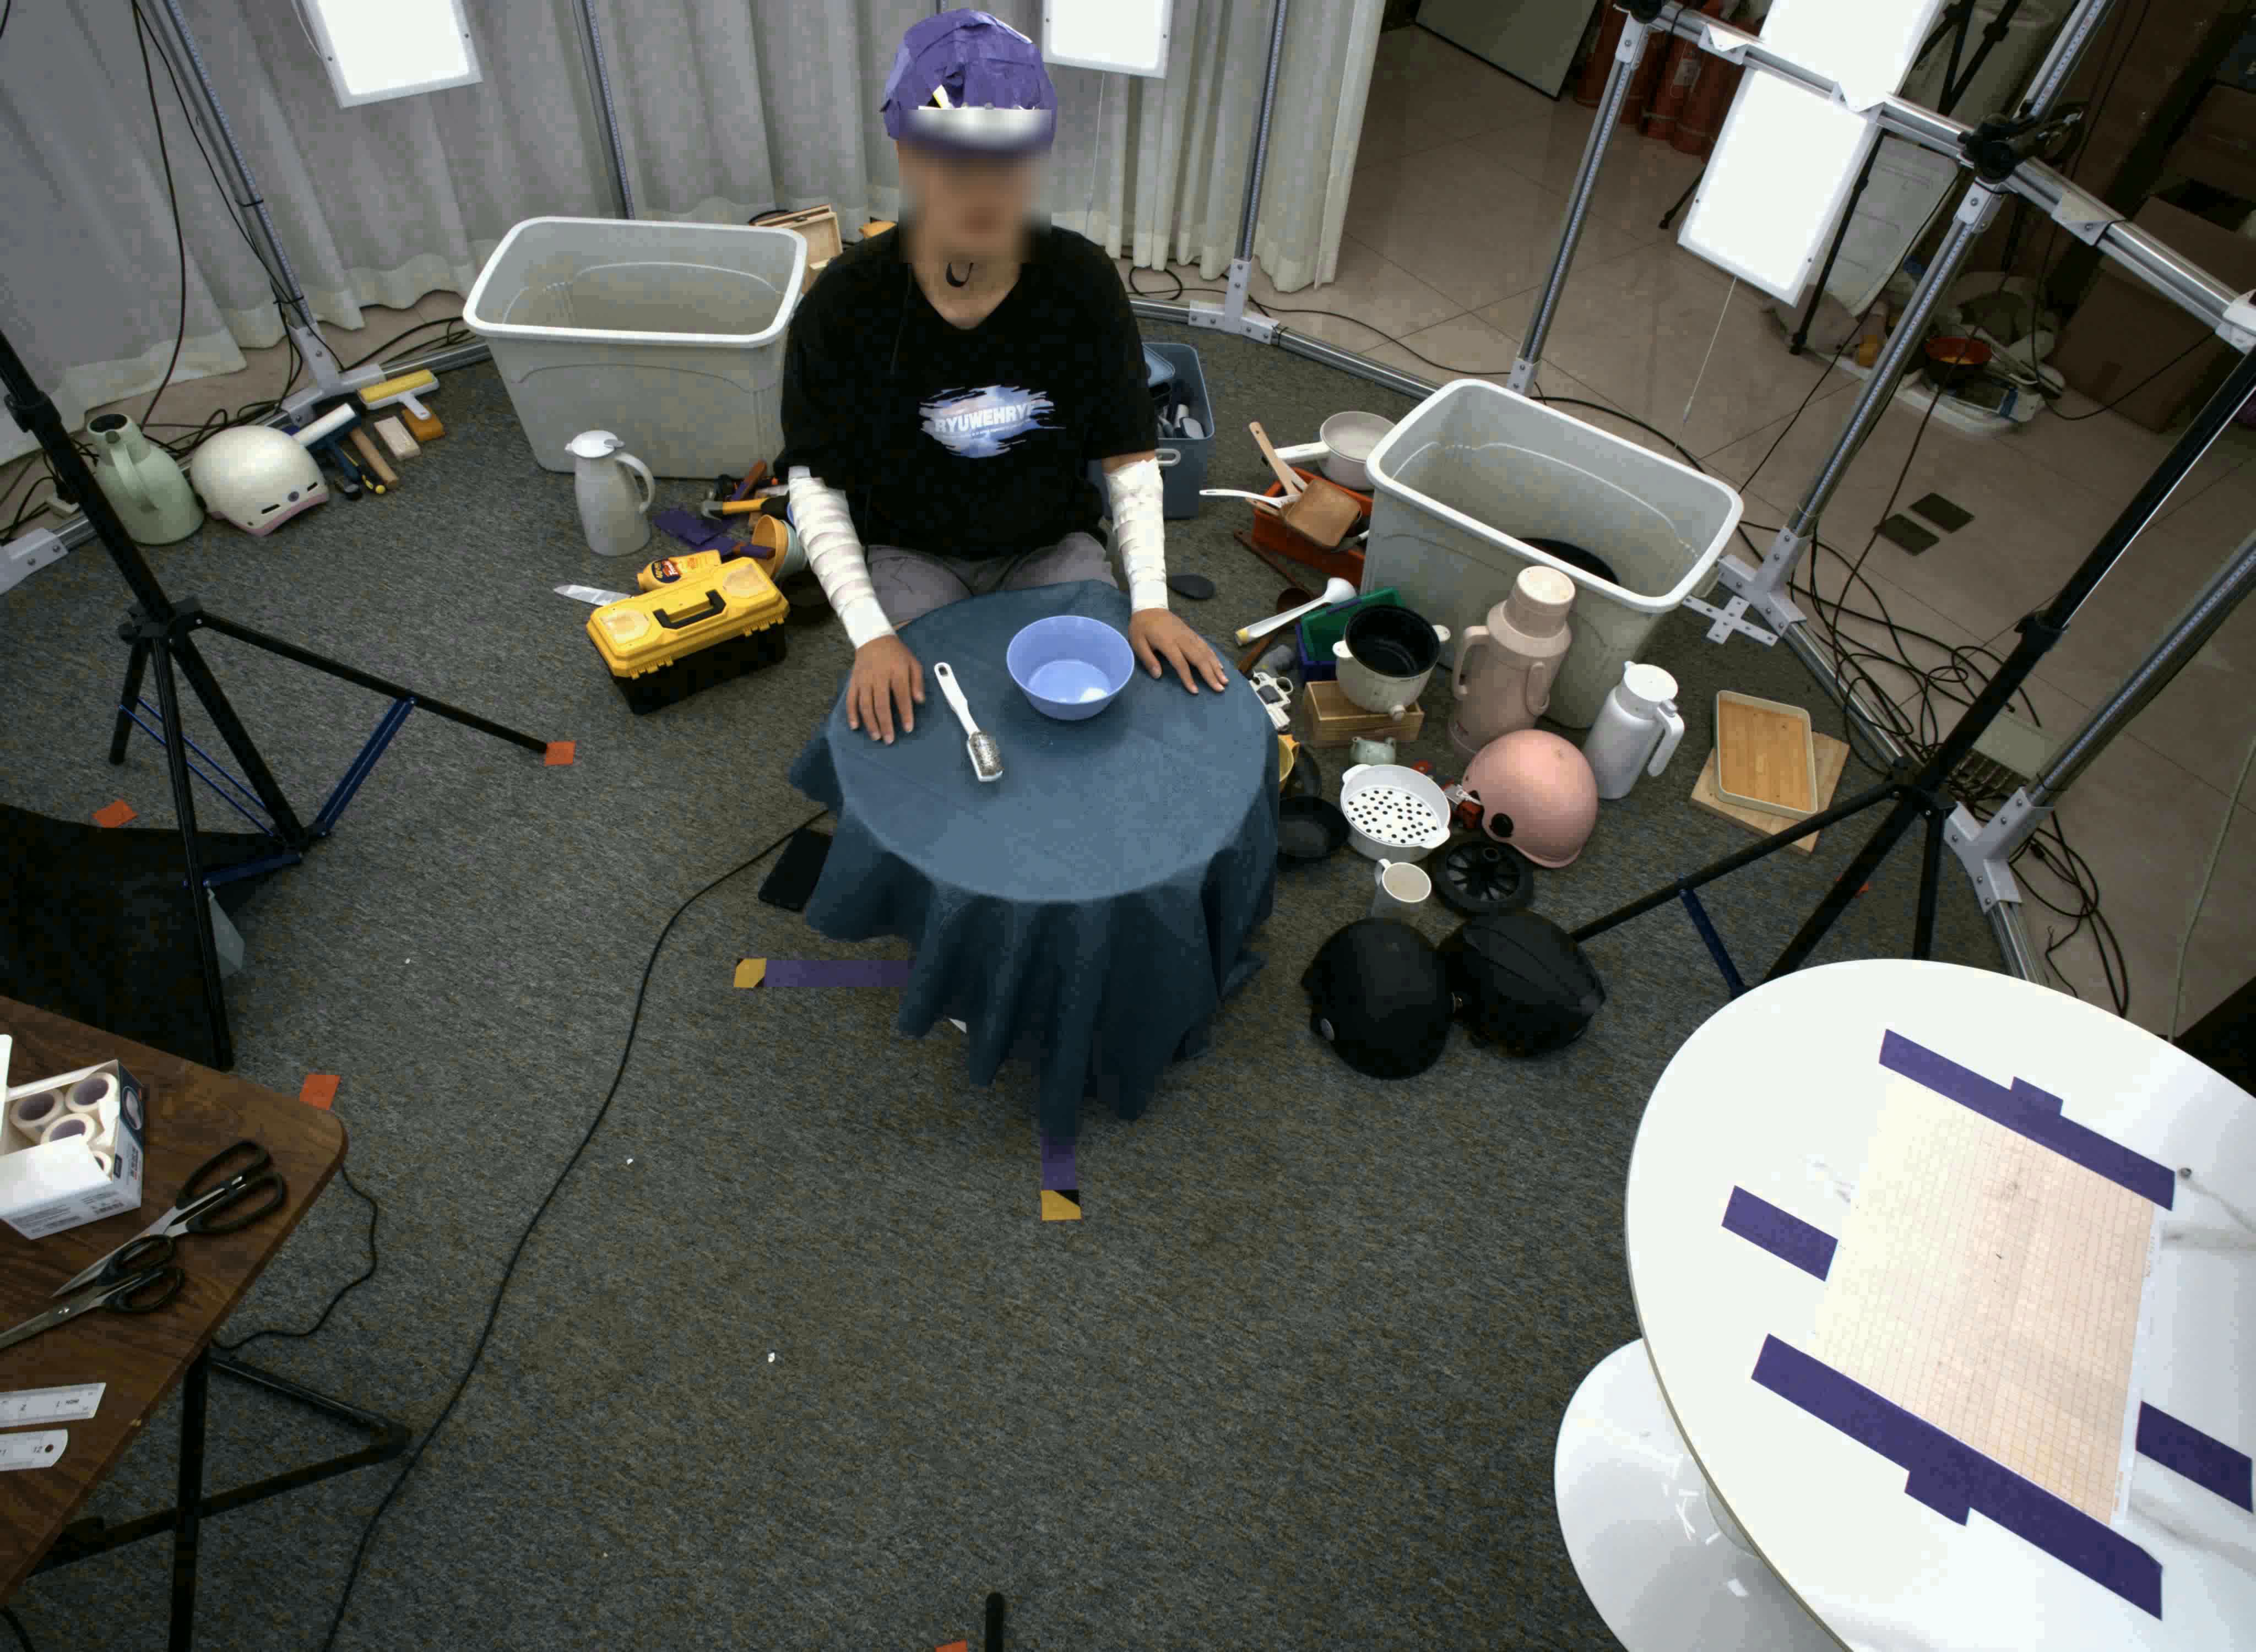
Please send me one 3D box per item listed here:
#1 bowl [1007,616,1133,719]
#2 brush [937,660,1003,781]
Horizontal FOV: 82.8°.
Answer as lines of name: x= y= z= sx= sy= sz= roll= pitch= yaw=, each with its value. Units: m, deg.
bowl: x=-0.083 y=-0.214 z=1.807 sx=0.176 sy=0.068 sz=0.180 roll=2 pitch=49 yaw=-3
brush: x=-0.221 y=-0.158 z=1.764 sx=0.034 sy=0.049 sz=0.249 roll=-13 pitch=52 yaw=-16
